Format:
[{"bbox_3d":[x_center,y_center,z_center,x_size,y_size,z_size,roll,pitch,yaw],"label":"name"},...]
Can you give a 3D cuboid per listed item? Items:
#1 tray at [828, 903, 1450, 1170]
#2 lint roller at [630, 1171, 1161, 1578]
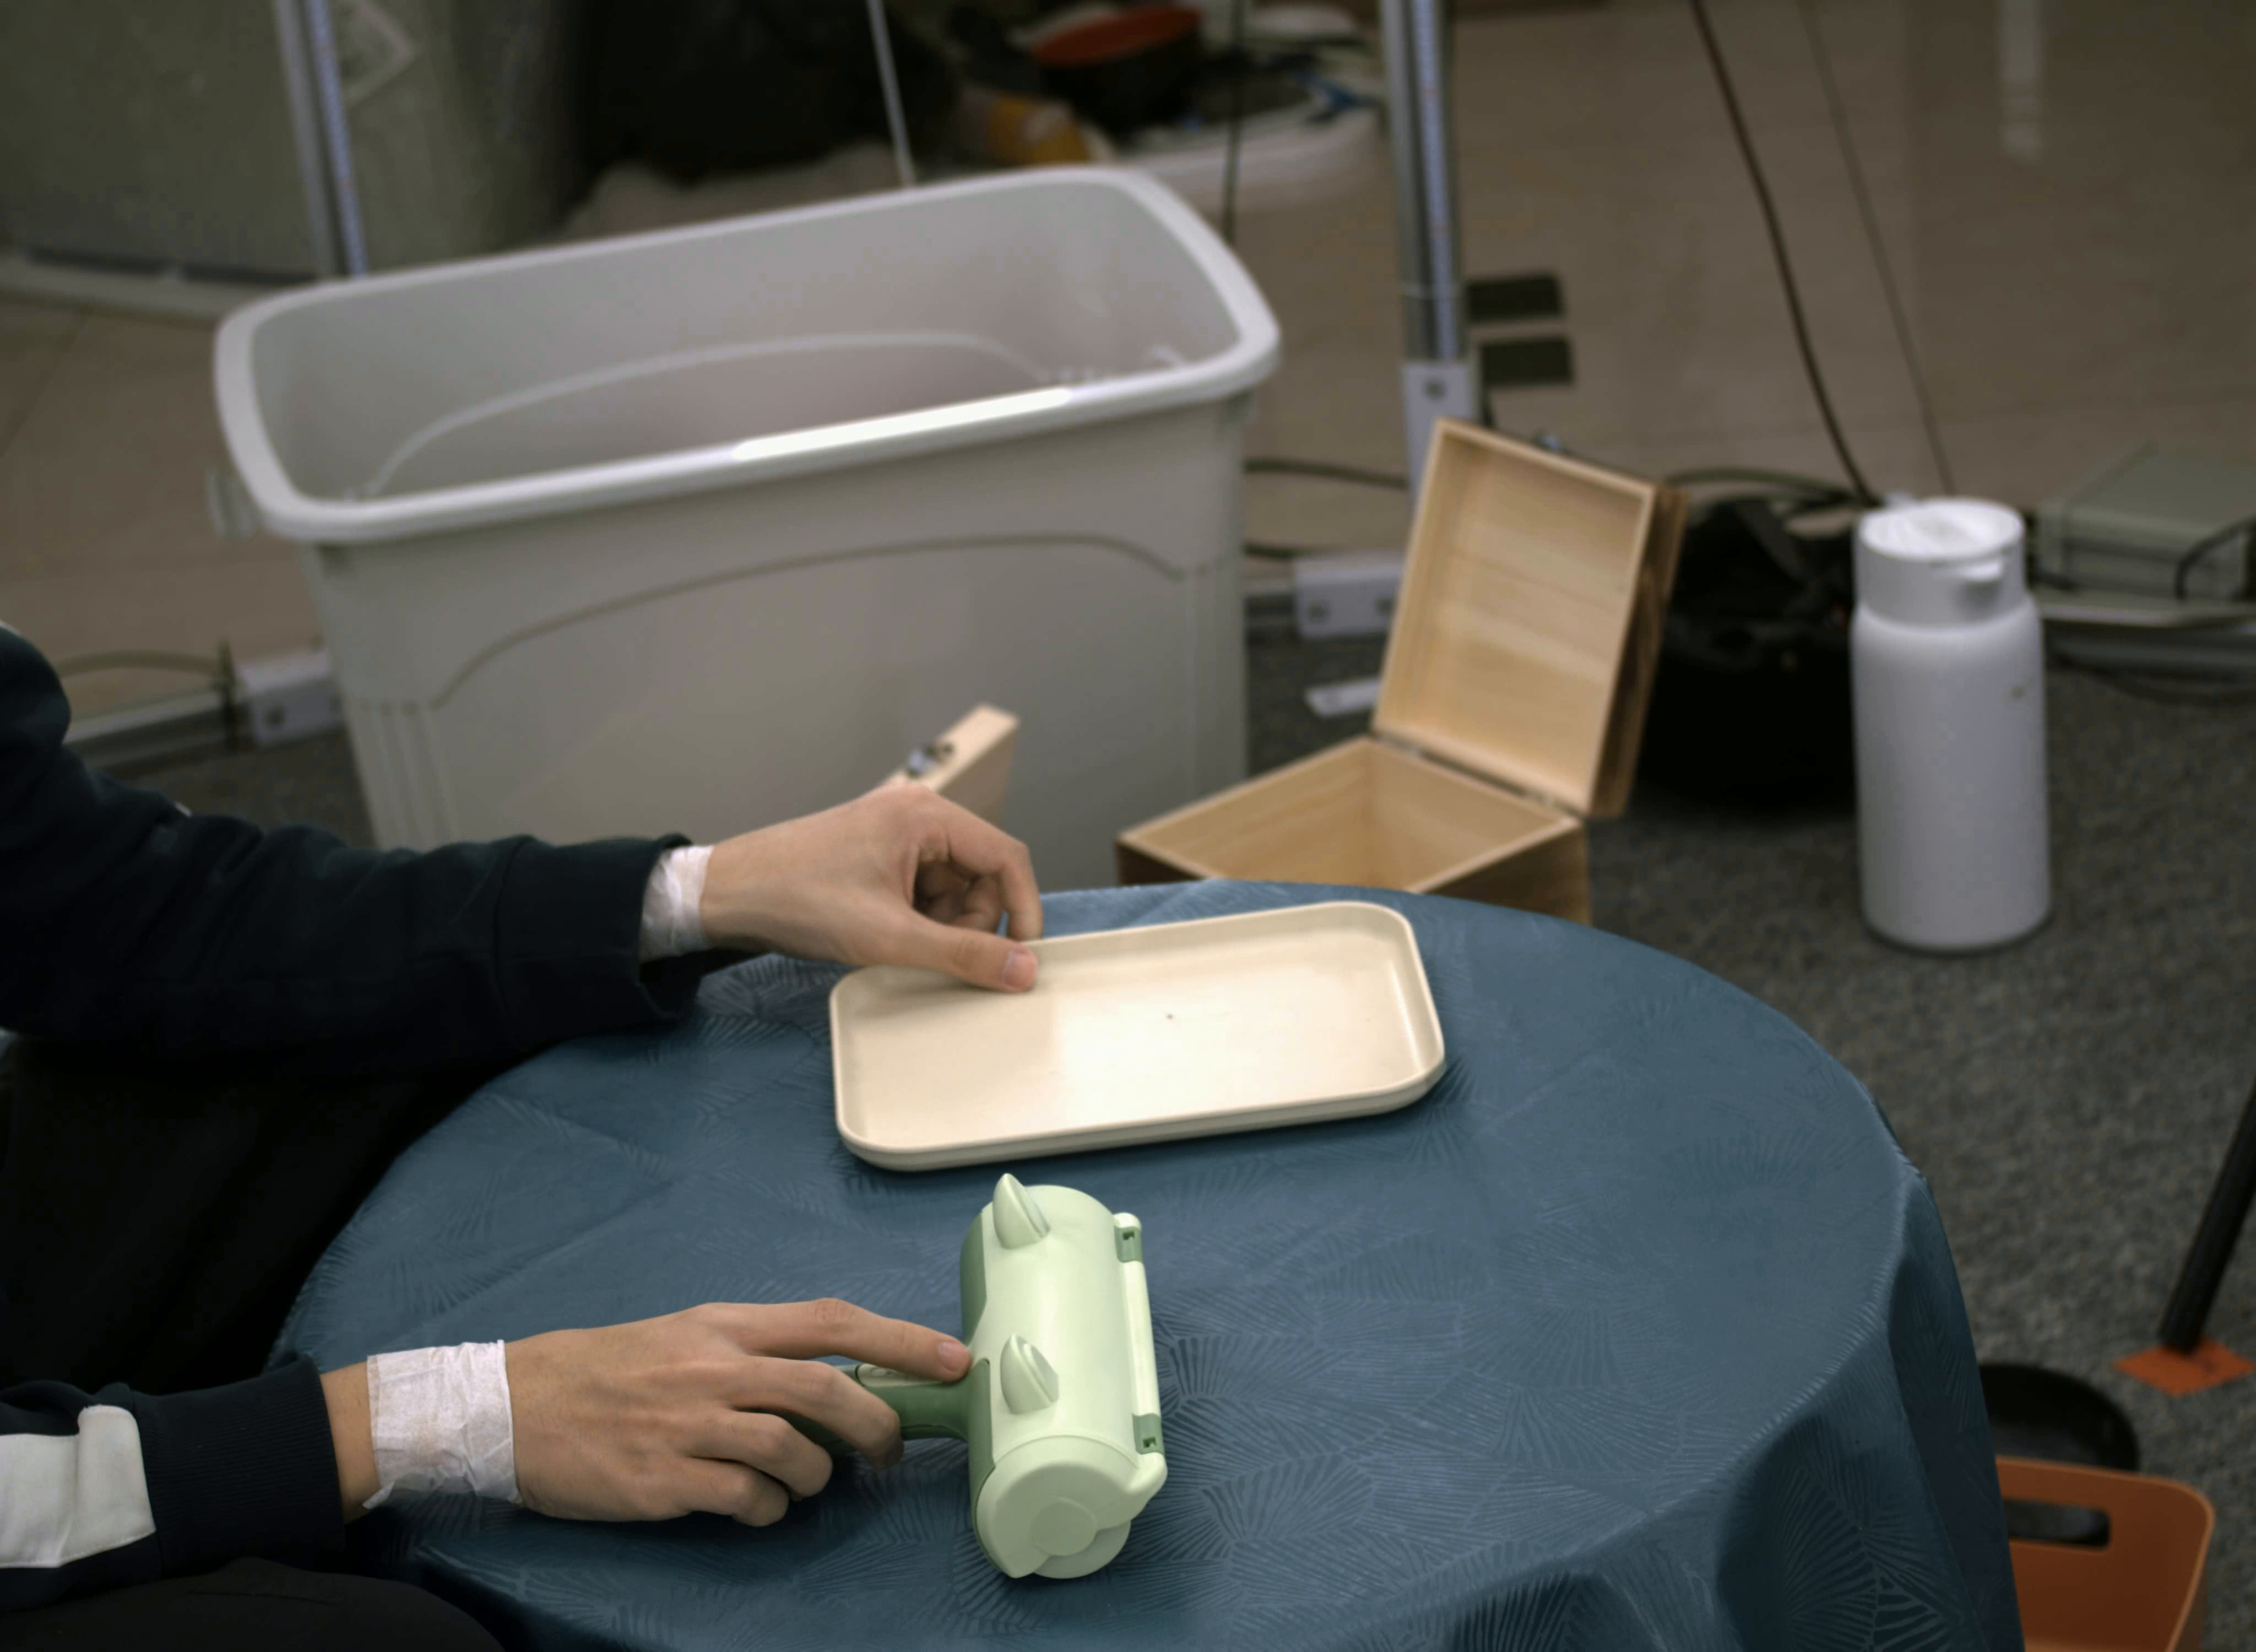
[{"bbox_3d":[0.003,0.084,2.240,0.239,0.018,0.169,-7,24,-2],"label":"tray"},{"bbox_3d":[-0.083,0.186,1.971,0.183,0.083,0.195,-2,25,-1],"label":"lint roller"}]
